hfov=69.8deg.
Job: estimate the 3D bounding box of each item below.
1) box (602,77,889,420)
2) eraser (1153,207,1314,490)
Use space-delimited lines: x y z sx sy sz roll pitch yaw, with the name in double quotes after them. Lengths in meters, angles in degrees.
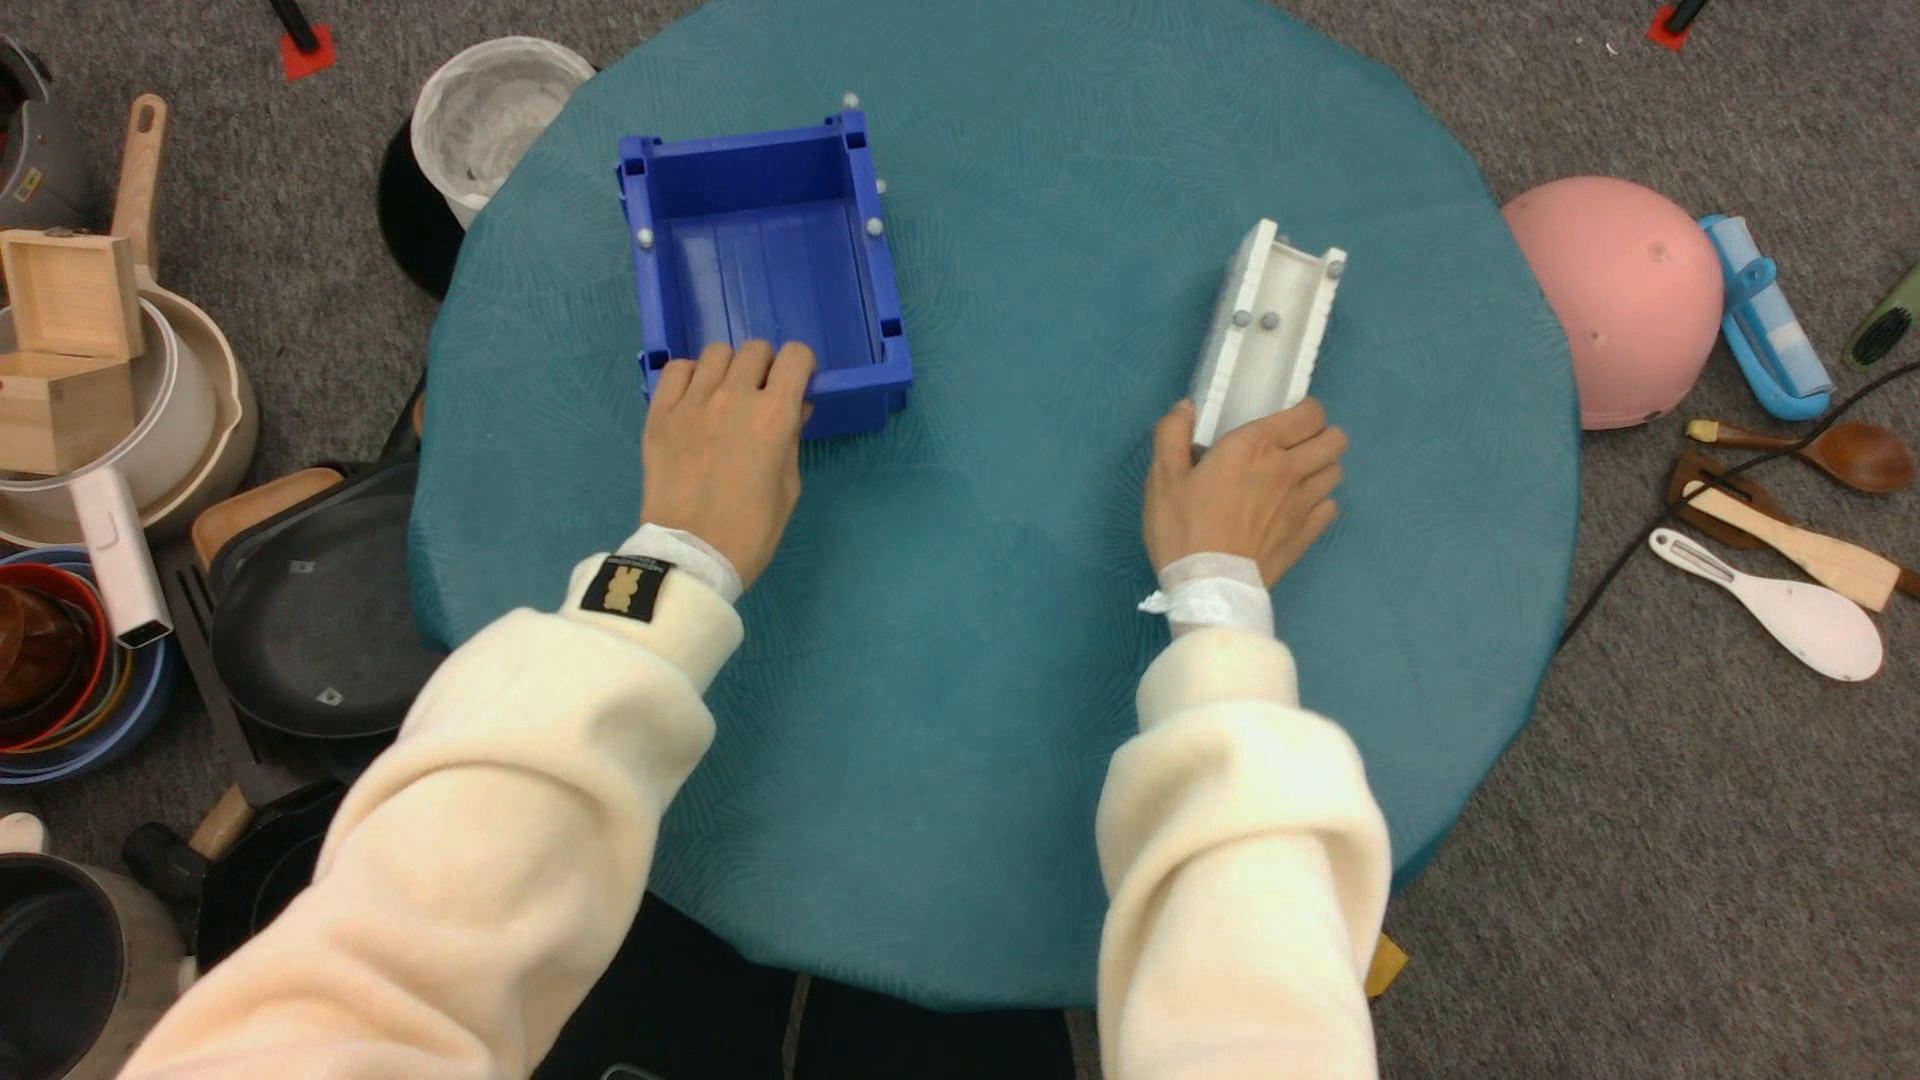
-0.109 -0.151 0.689 0.124 0.081 0.180 -8 72 -5 "box"
0.138 -0.097 0.701 0.050 0.046 0.135 21 69 -14 "eraser"
